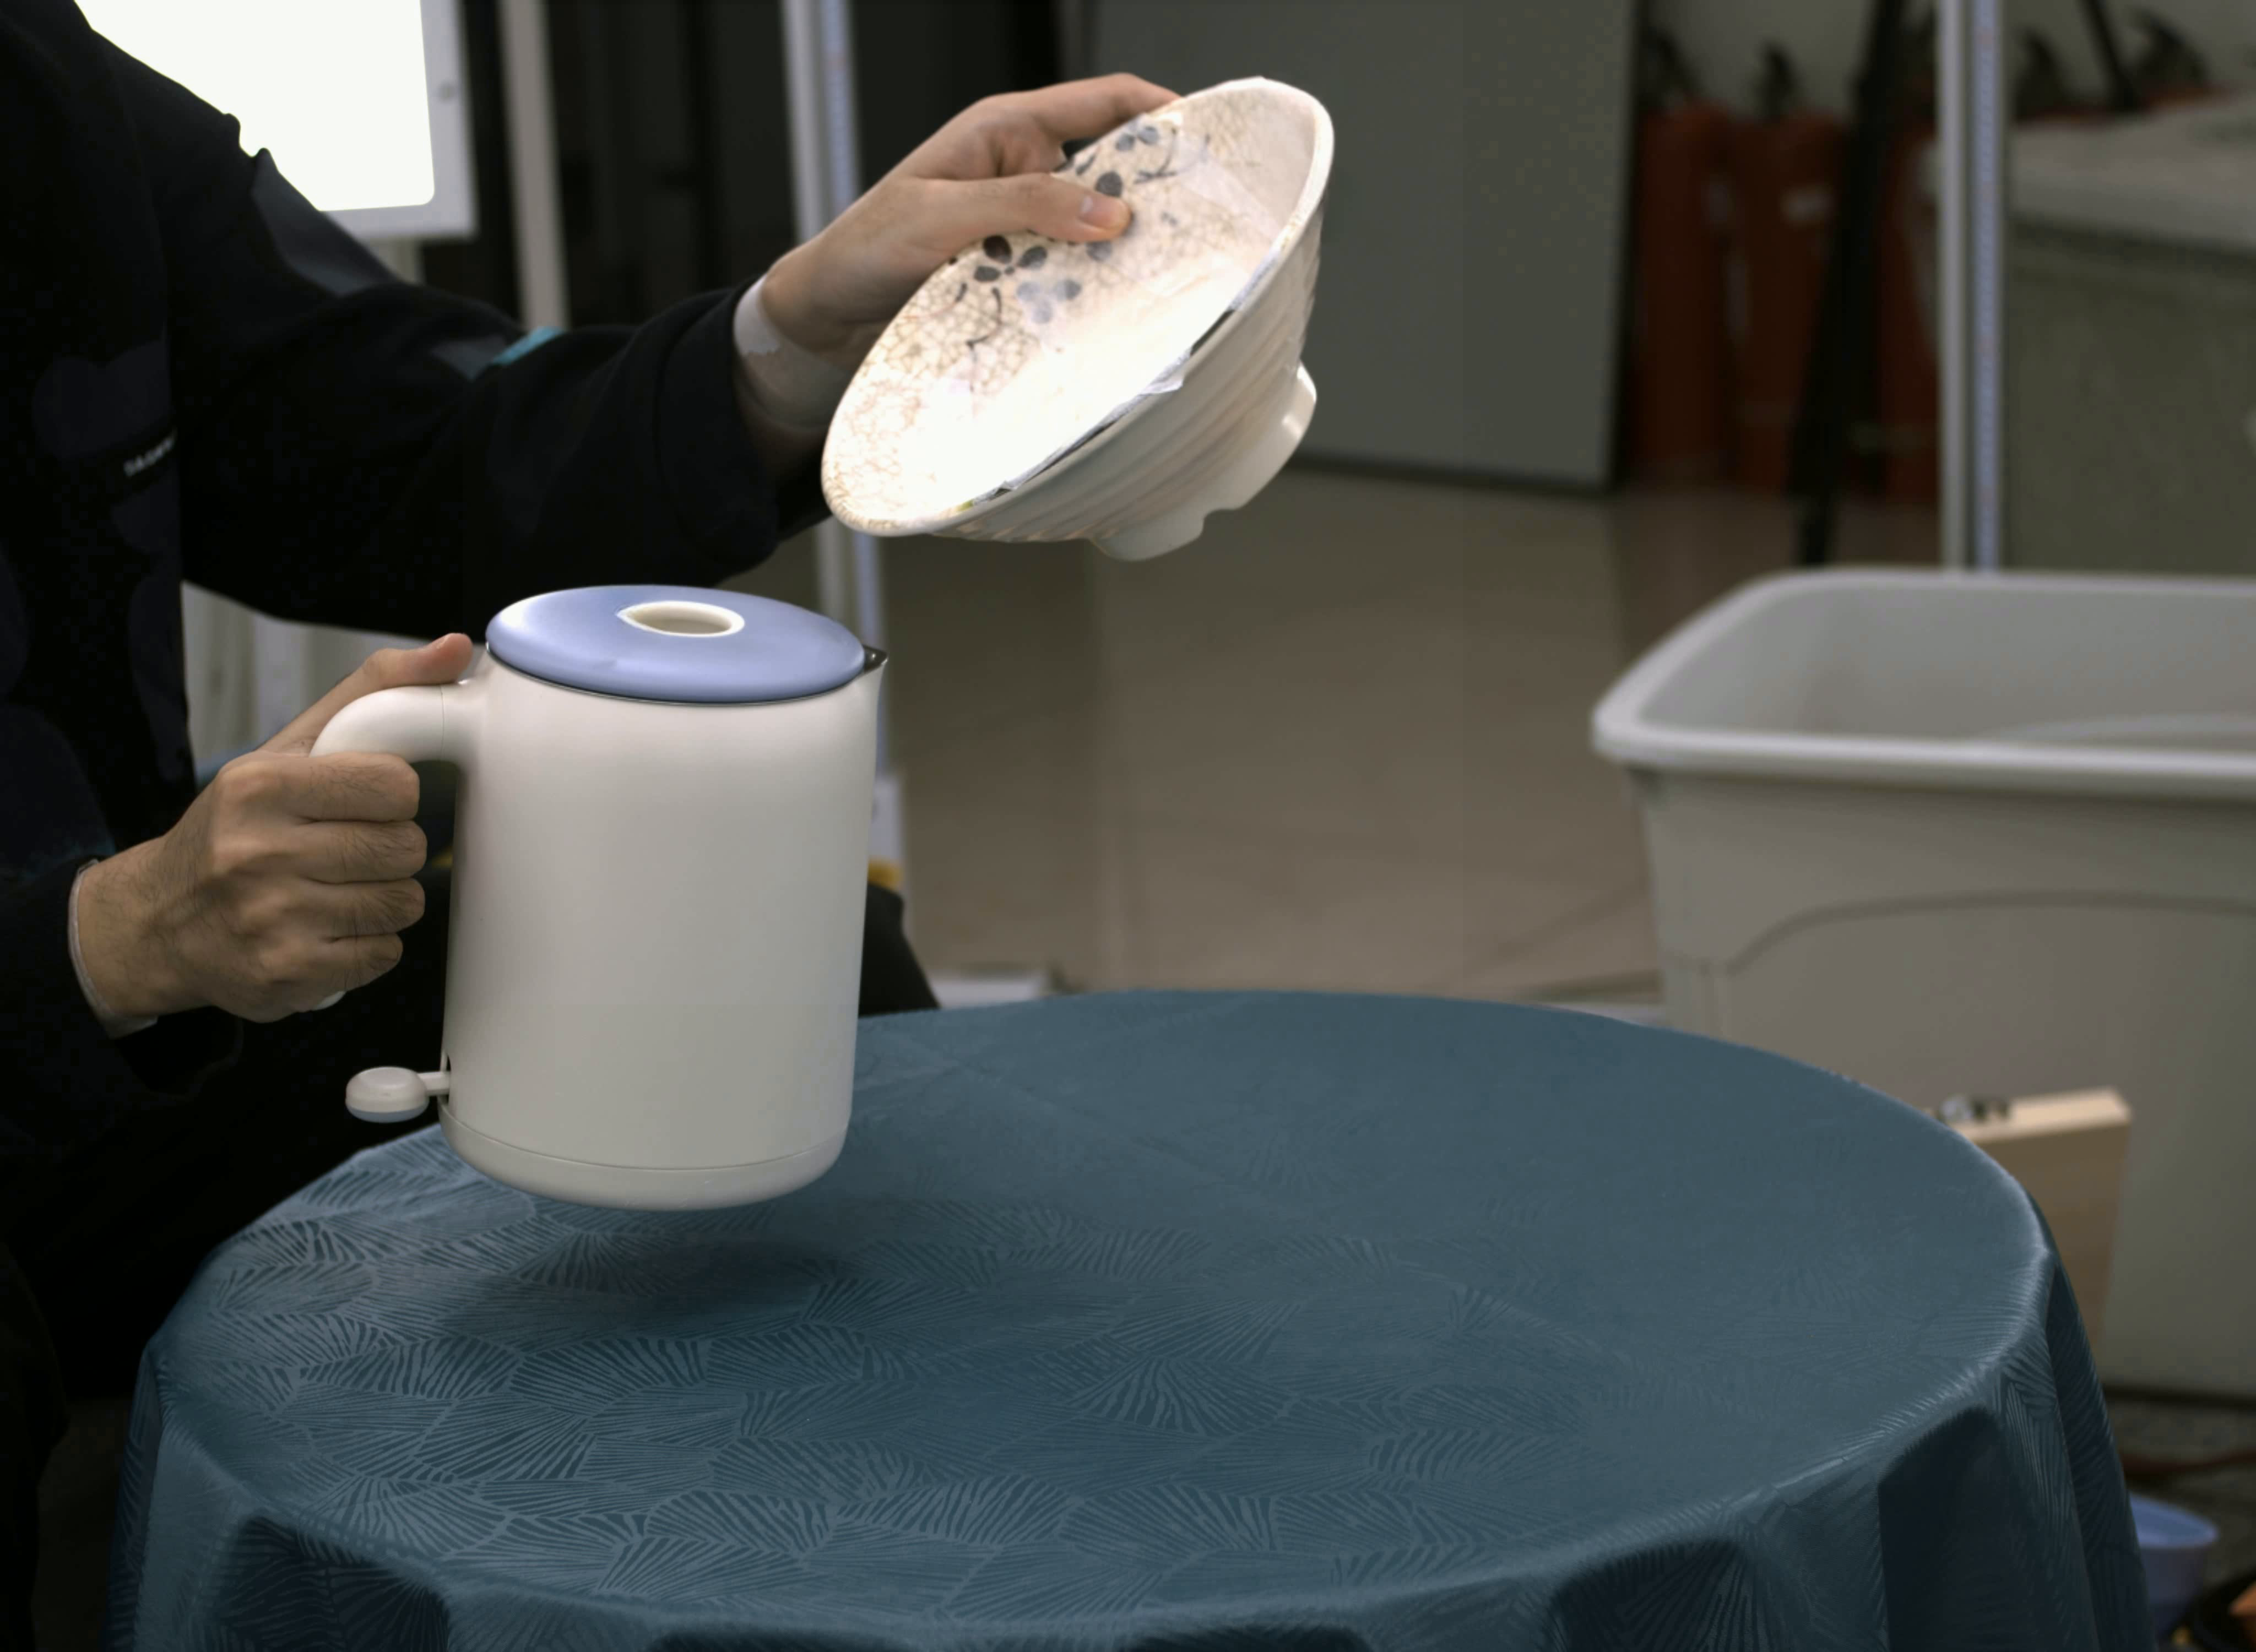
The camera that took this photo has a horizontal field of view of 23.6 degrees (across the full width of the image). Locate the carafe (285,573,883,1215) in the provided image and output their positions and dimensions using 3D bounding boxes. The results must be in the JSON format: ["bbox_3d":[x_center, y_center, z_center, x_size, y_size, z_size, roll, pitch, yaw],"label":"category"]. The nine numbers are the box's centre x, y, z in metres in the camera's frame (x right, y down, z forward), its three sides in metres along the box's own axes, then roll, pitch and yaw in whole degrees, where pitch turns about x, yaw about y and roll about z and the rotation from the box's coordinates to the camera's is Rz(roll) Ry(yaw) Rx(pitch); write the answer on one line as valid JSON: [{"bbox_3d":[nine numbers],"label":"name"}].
[{"bbox_3d":[-0.168,0.022,1.683,0.187,0.184,0.133,-3,16,-17],"label":"carafe"}]

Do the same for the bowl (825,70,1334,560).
[{"bbox_3d":[0.005,-0.143,1.720,0.204,0.077,0.205,-36,23,16],"label":"bowl"}]
